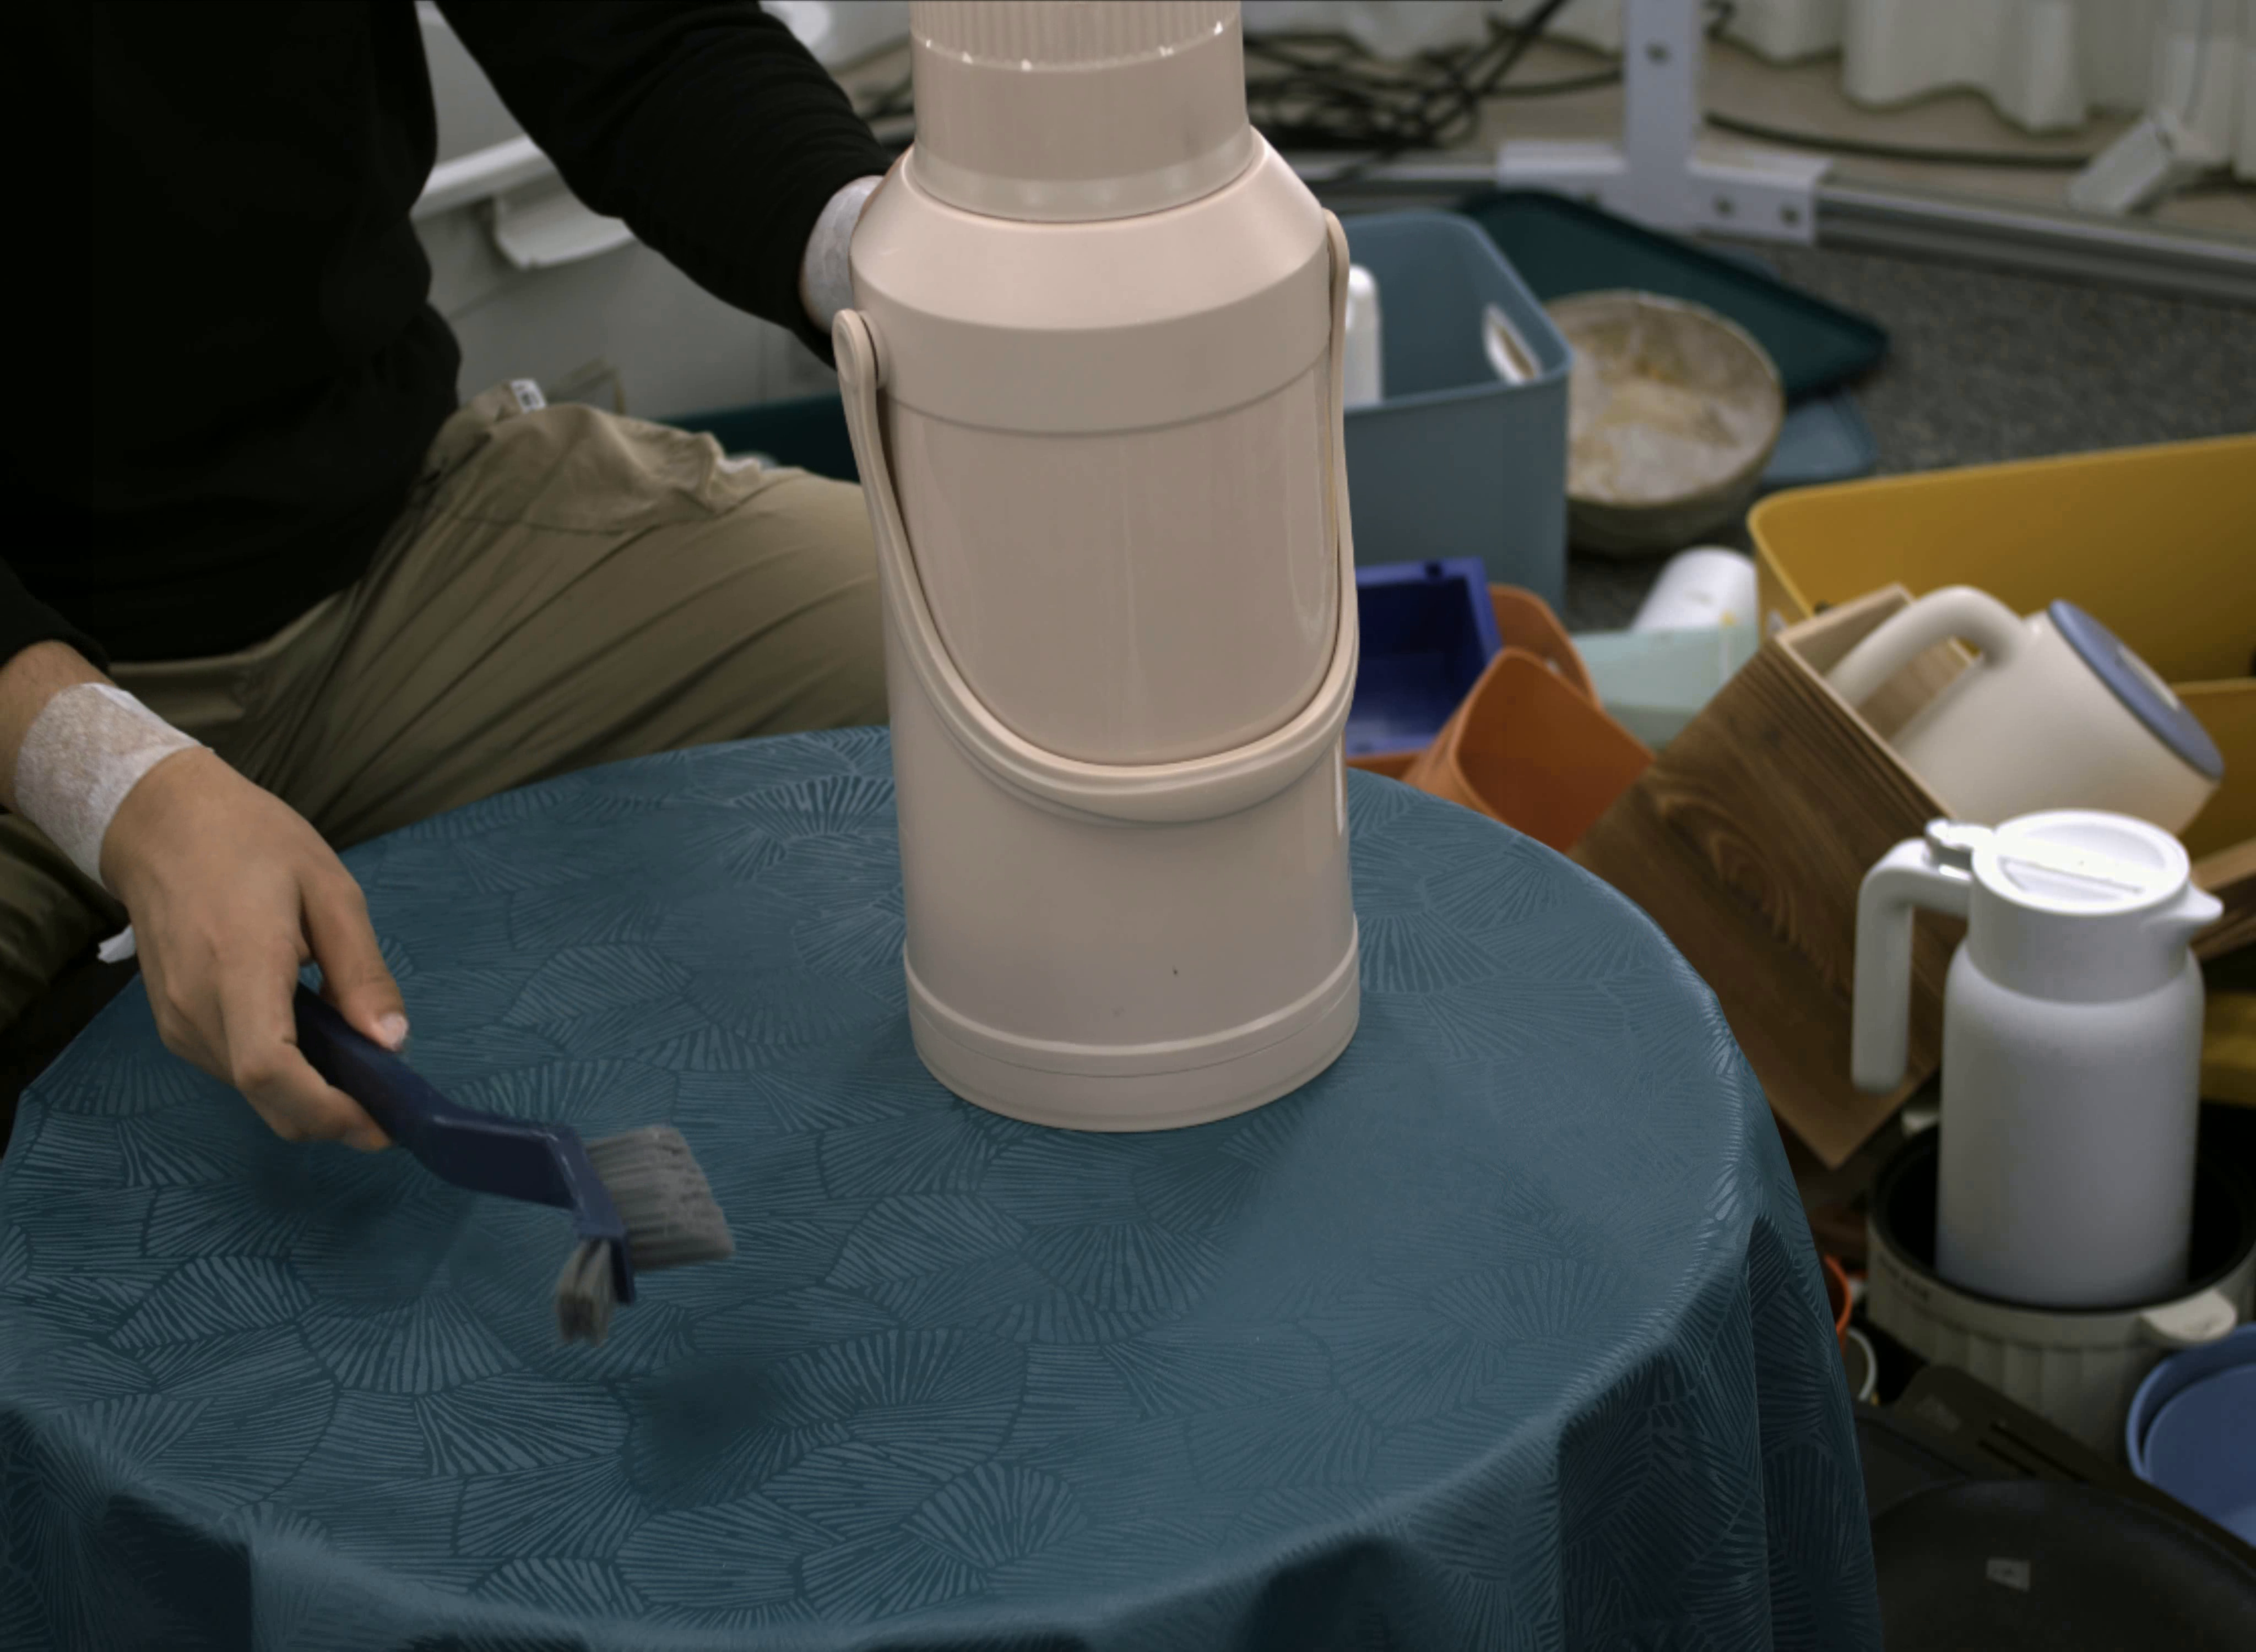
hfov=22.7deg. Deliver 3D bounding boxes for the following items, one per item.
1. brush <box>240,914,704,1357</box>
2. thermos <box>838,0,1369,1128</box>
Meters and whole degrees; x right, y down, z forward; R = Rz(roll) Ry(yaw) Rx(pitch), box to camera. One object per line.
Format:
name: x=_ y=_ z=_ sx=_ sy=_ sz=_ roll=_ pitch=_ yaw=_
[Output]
brush: x=-0.230 y=0.094 z=1.797 sx=0.097 sy=0.033 sz=0.273 roll=-24 pitch=32 yaw=-36
thermos: x=-0.010 y=-0.115 z=1.893 sx=0.176 sy=0.402 sz=0.208 roll=-15 pitch=29 yaw=-20
